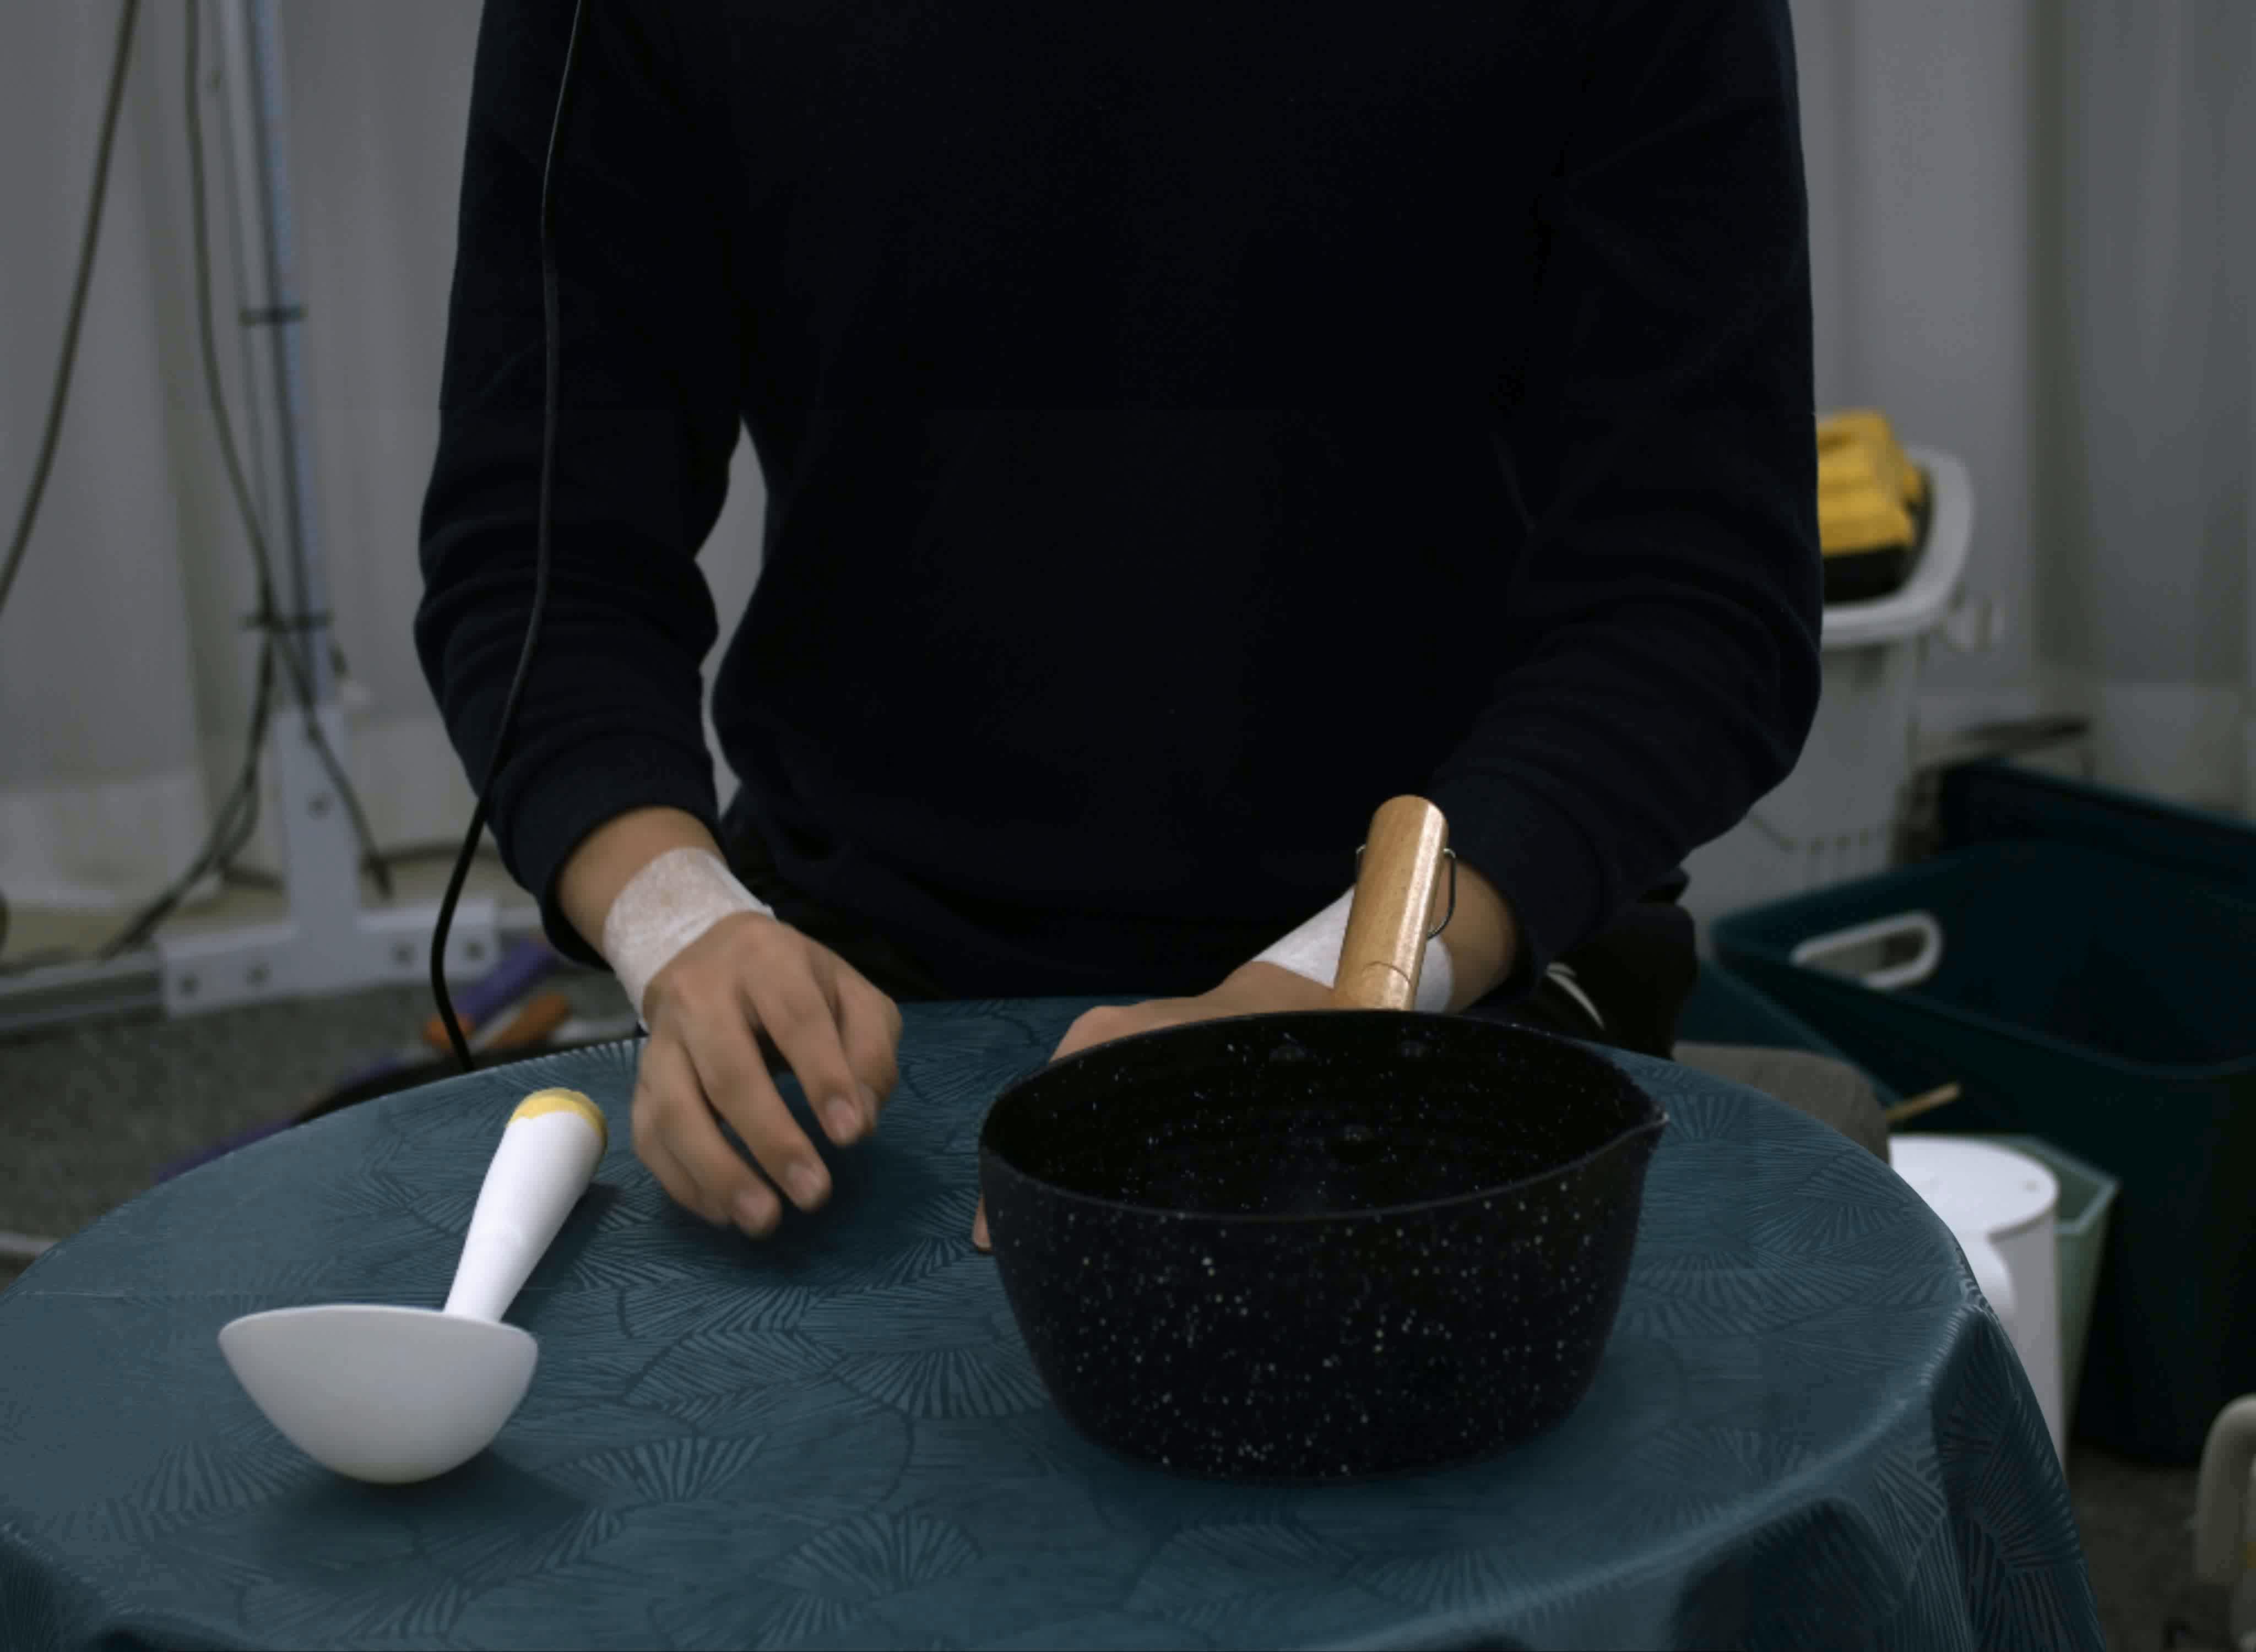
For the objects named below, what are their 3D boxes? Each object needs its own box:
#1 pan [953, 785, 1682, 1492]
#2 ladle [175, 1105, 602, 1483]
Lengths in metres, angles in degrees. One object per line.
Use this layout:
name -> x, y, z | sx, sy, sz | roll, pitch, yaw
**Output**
pan -> 0.064, 0.086, 1.602 | 0.207, 0.108, 0.345 | -2, 16, 9
ladle -> -0.201, 0.122, 1.604 | 0.090, 0.070, 0.294 | -8, 13, 8
